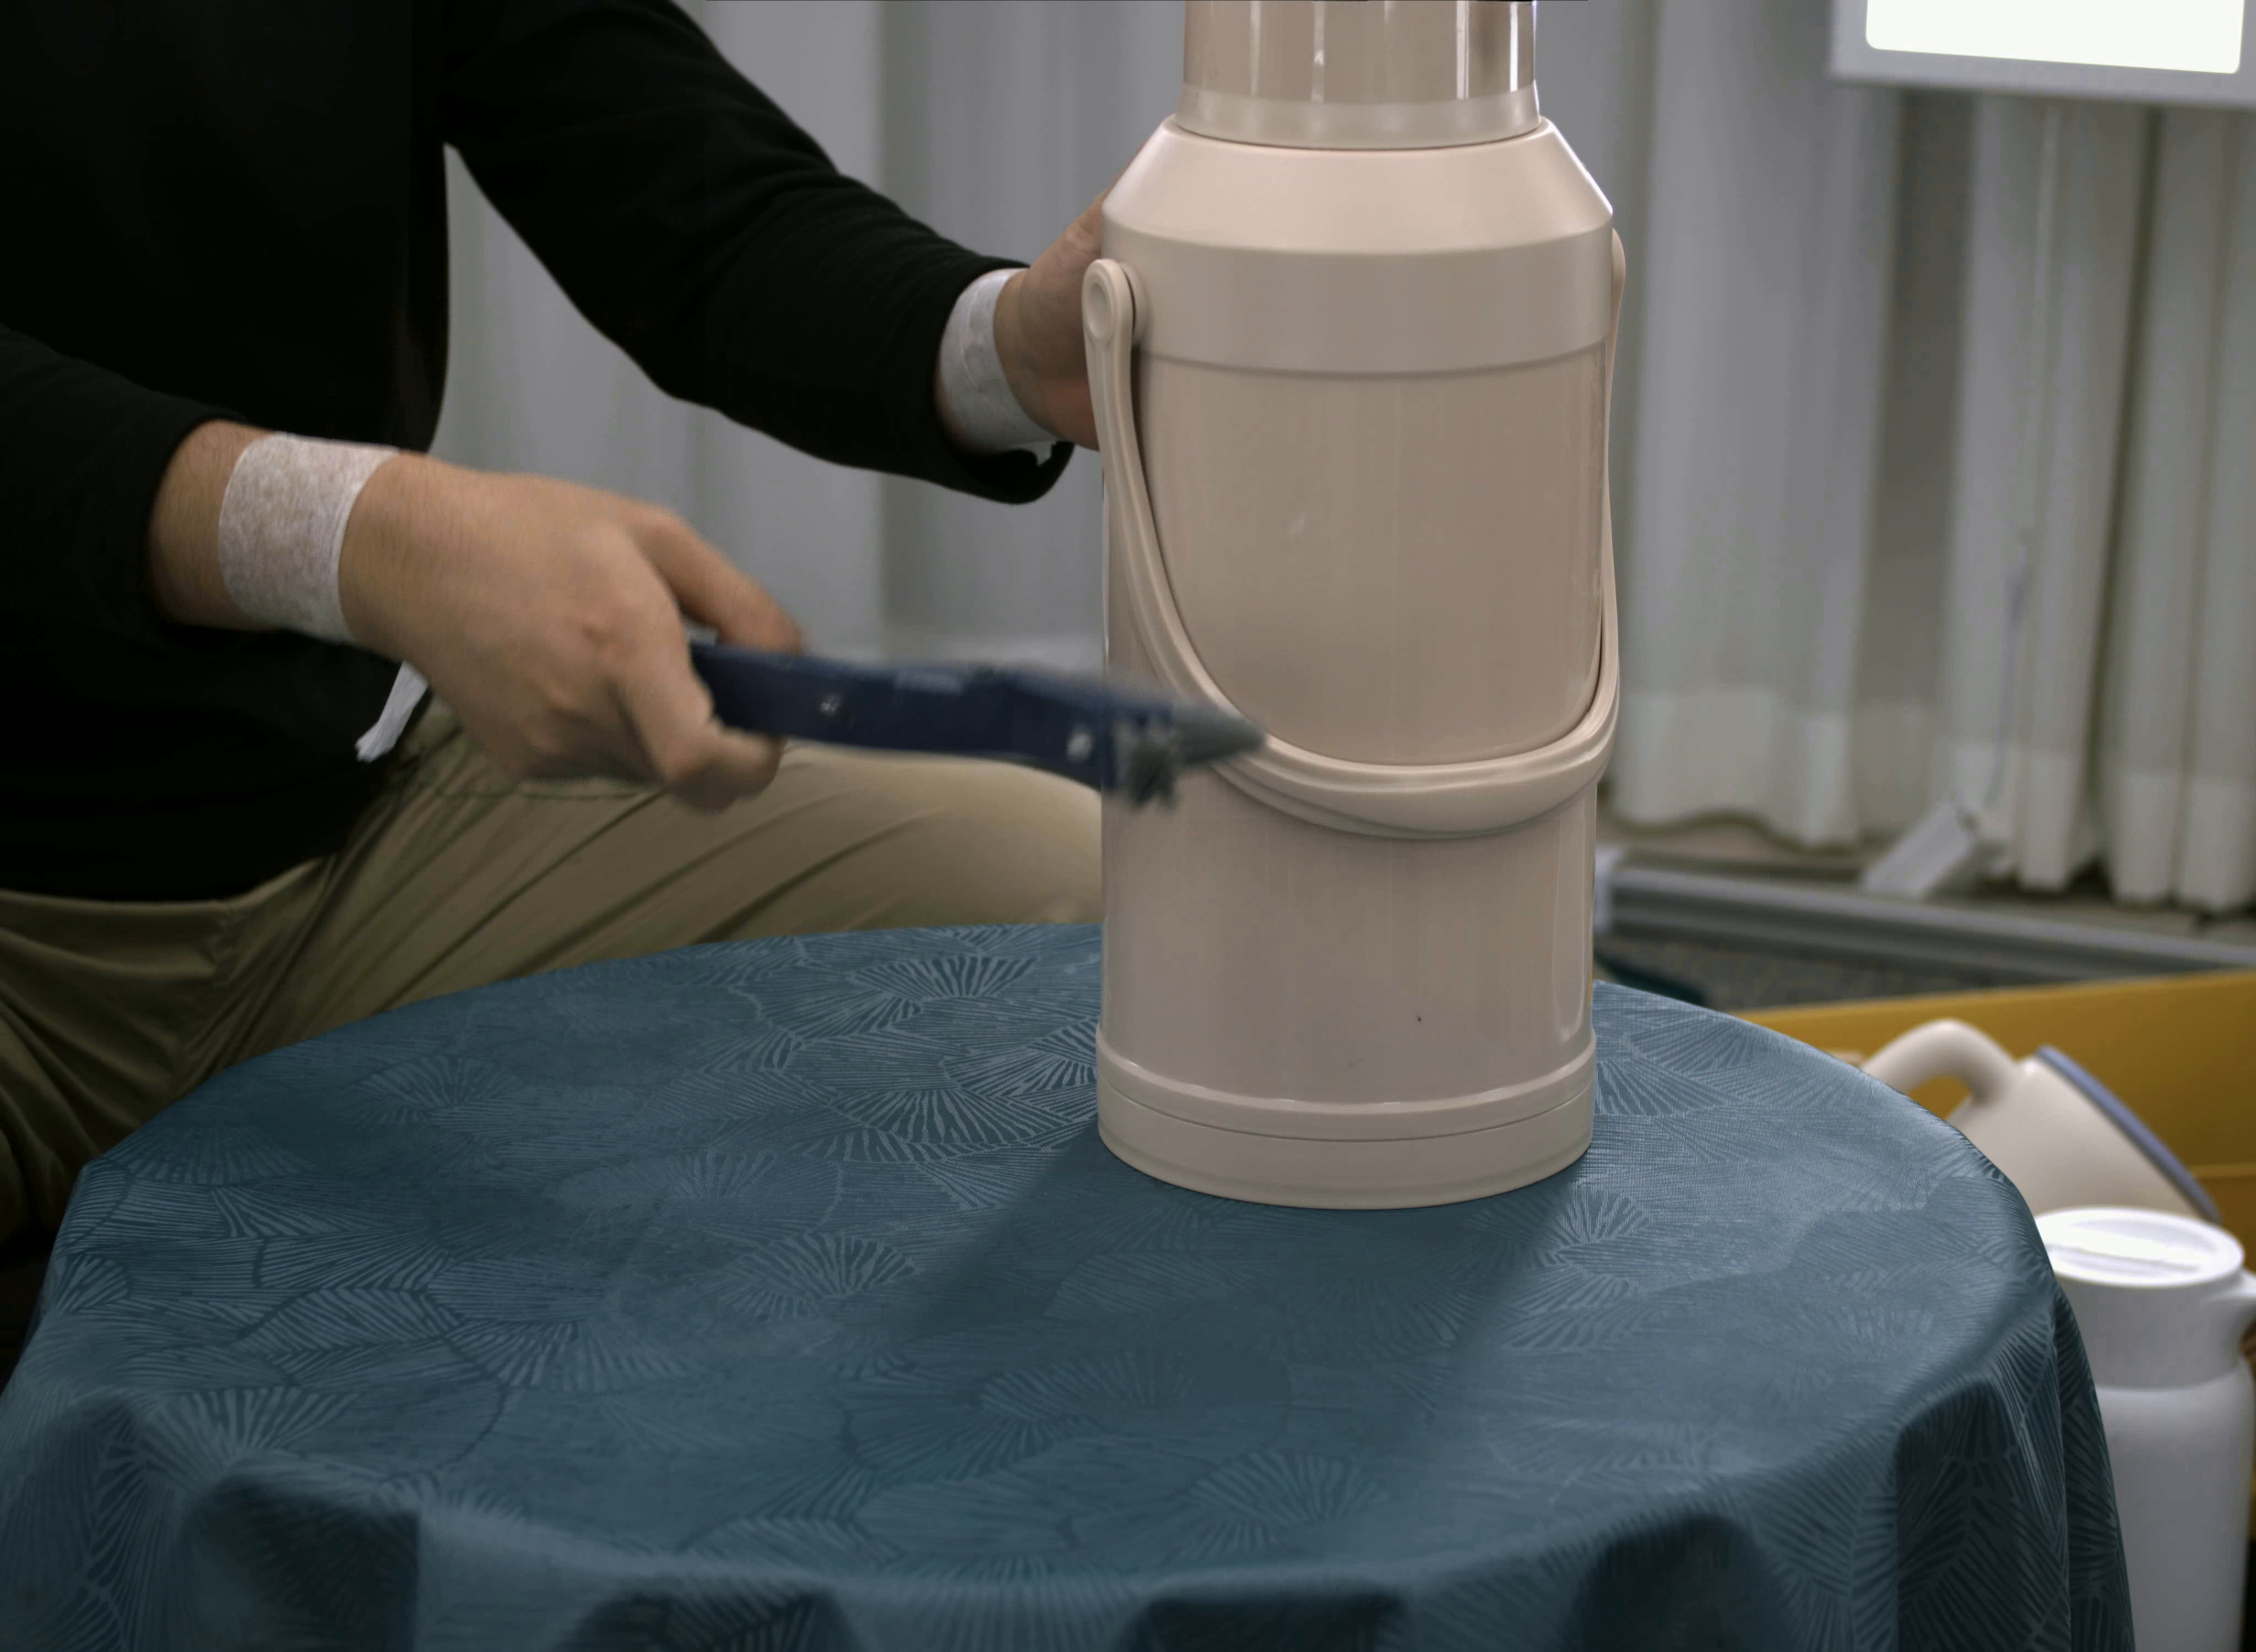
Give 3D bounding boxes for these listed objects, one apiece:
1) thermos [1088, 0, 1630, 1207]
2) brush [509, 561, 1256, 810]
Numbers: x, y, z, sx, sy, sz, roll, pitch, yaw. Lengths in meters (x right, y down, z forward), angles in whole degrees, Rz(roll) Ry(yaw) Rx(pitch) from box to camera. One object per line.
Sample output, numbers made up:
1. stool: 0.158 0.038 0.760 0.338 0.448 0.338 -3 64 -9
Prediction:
1. thermos: 0.067 -0.099 1.639 0.176 0.410 0.204 -9 19 -25
2. brush: -0.087 -0.043 1.511 0.270 0.034 0.096 7 18 30
